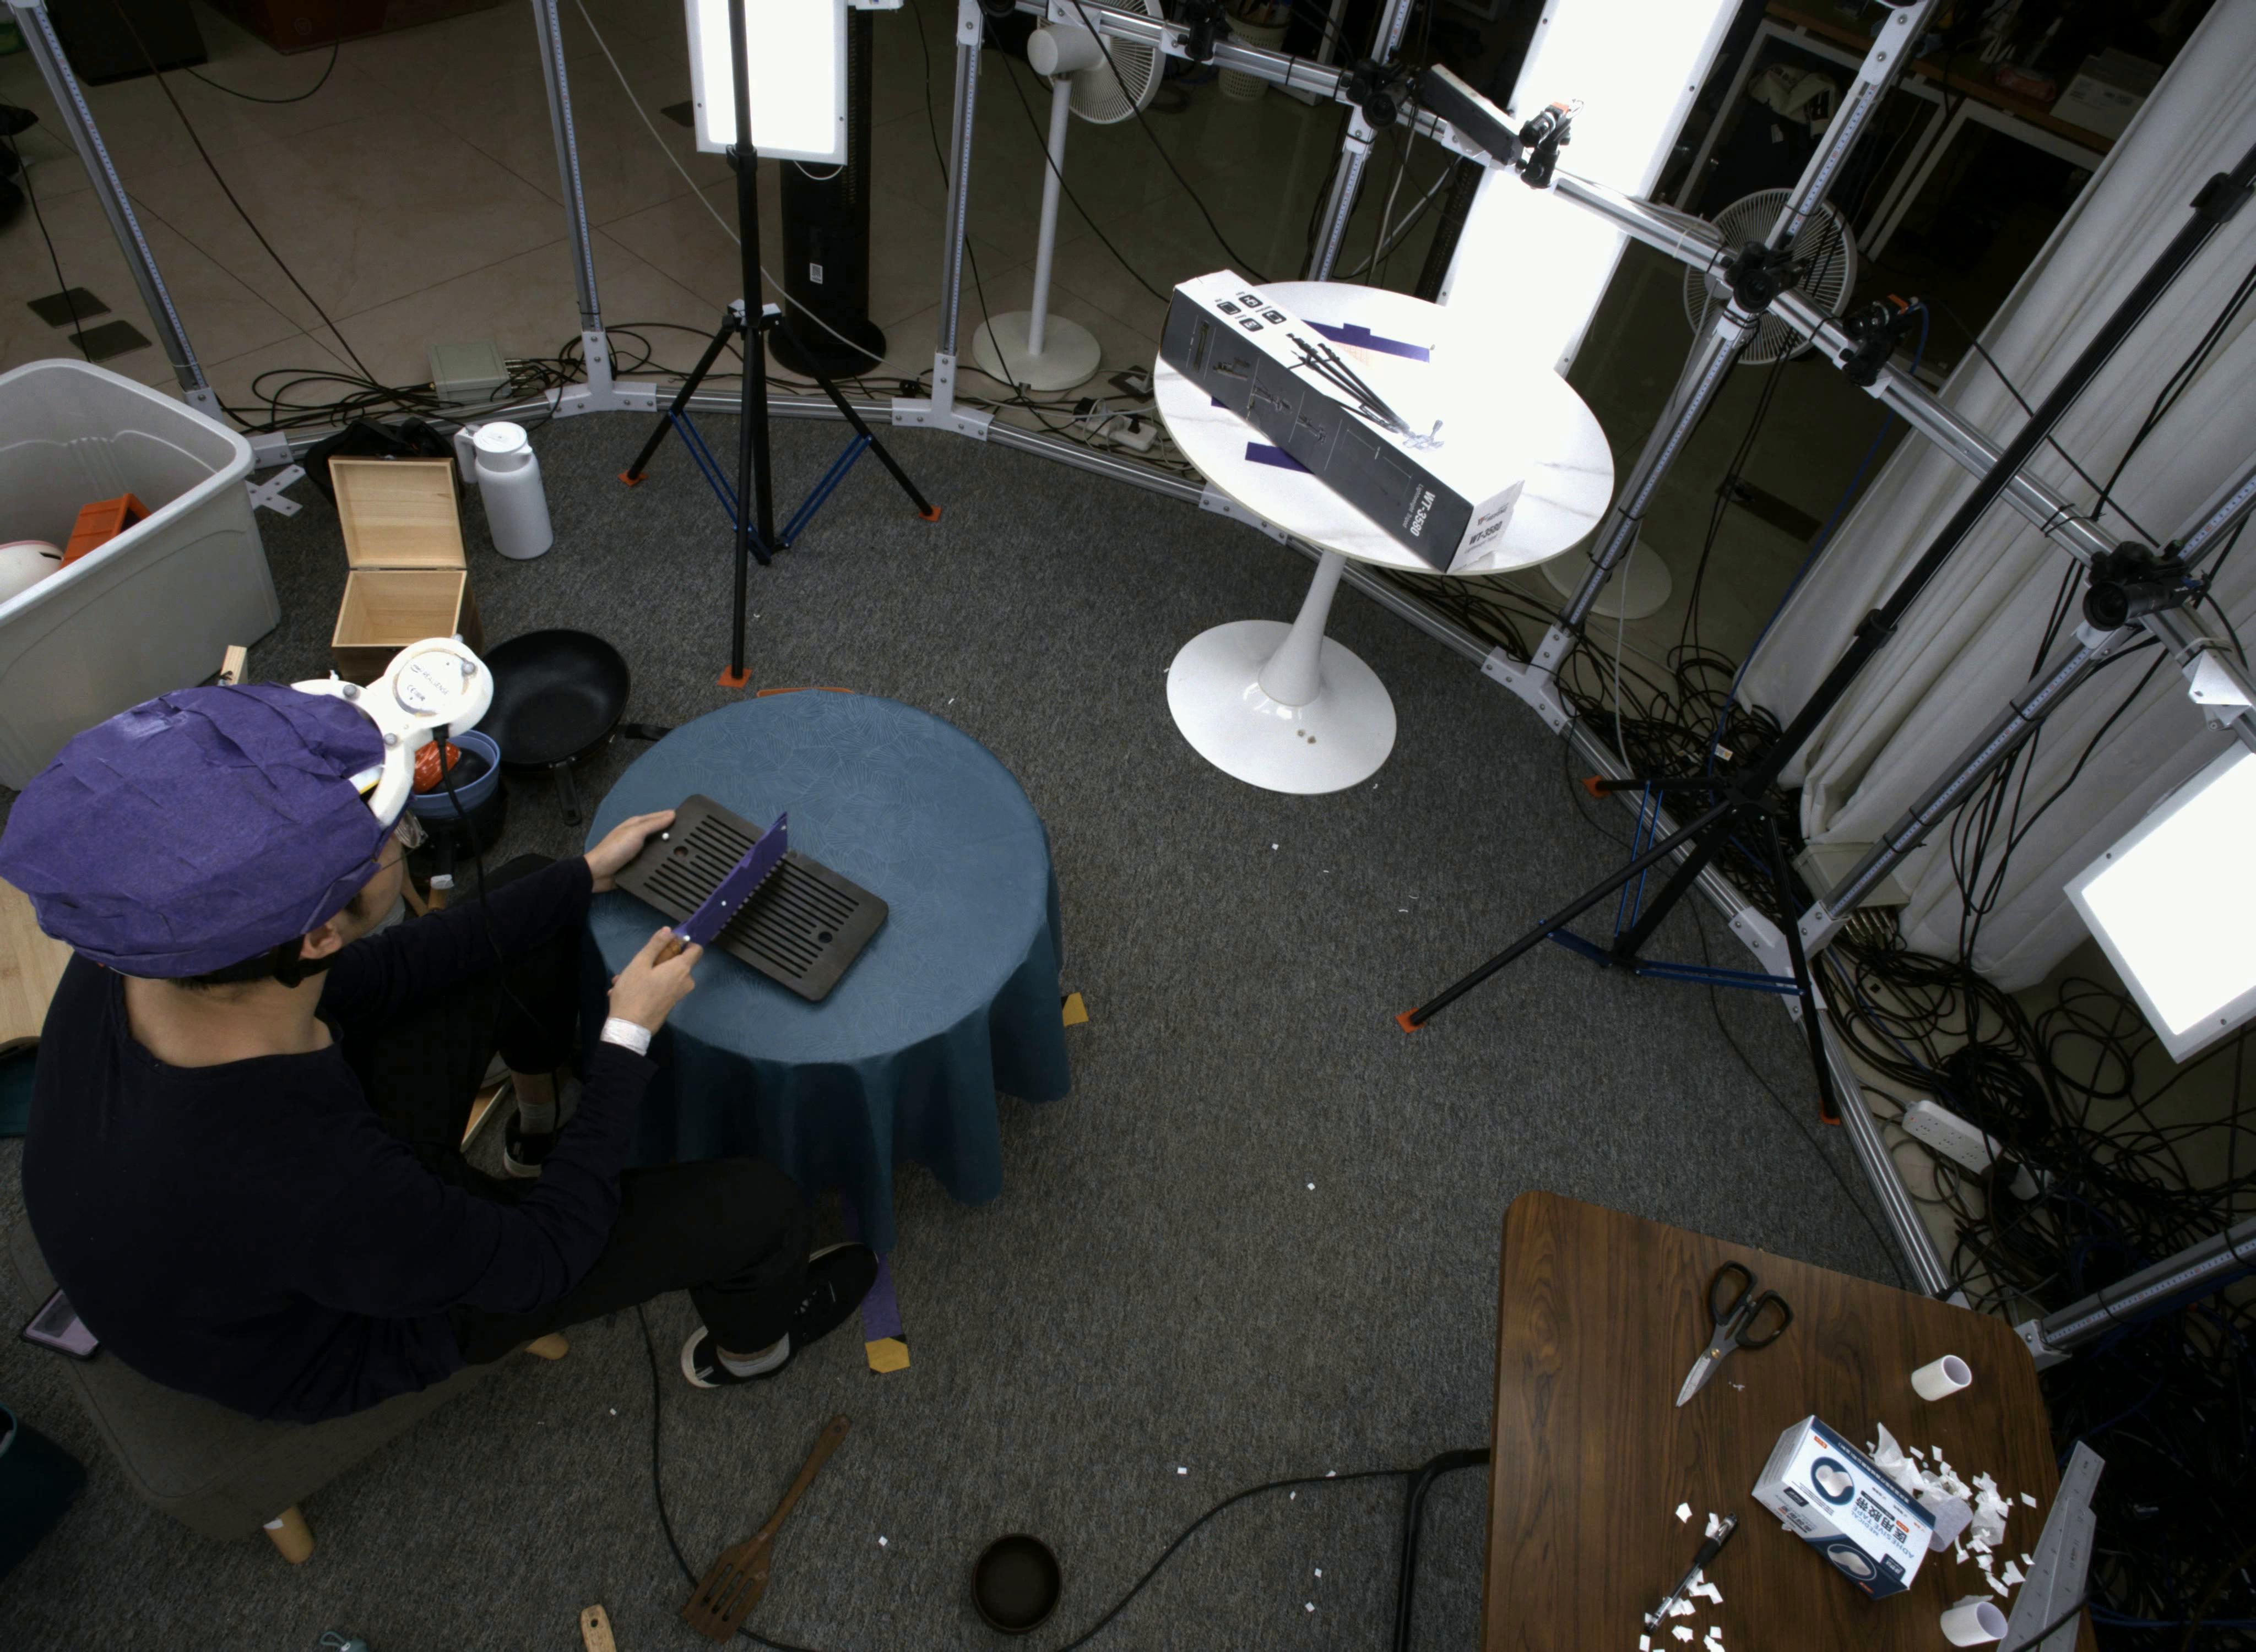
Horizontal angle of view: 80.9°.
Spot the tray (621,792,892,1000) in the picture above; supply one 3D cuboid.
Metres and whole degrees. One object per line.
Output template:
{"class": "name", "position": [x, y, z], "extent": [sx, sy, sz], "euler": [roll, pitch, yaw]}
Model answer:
{"class": "tray", "position": [-0.467, 0.084, 1.631], "extent": [0.304, 0.019, 0.169], "euler": [30, 52, 1]}

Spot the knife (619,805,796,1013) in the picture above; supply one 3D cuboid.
{"class": "knife", "position": [-0.489, 0.108, 1.533], "extent": [0.032, 0.106, 0.314], "euler": [28, 55, 9]}
